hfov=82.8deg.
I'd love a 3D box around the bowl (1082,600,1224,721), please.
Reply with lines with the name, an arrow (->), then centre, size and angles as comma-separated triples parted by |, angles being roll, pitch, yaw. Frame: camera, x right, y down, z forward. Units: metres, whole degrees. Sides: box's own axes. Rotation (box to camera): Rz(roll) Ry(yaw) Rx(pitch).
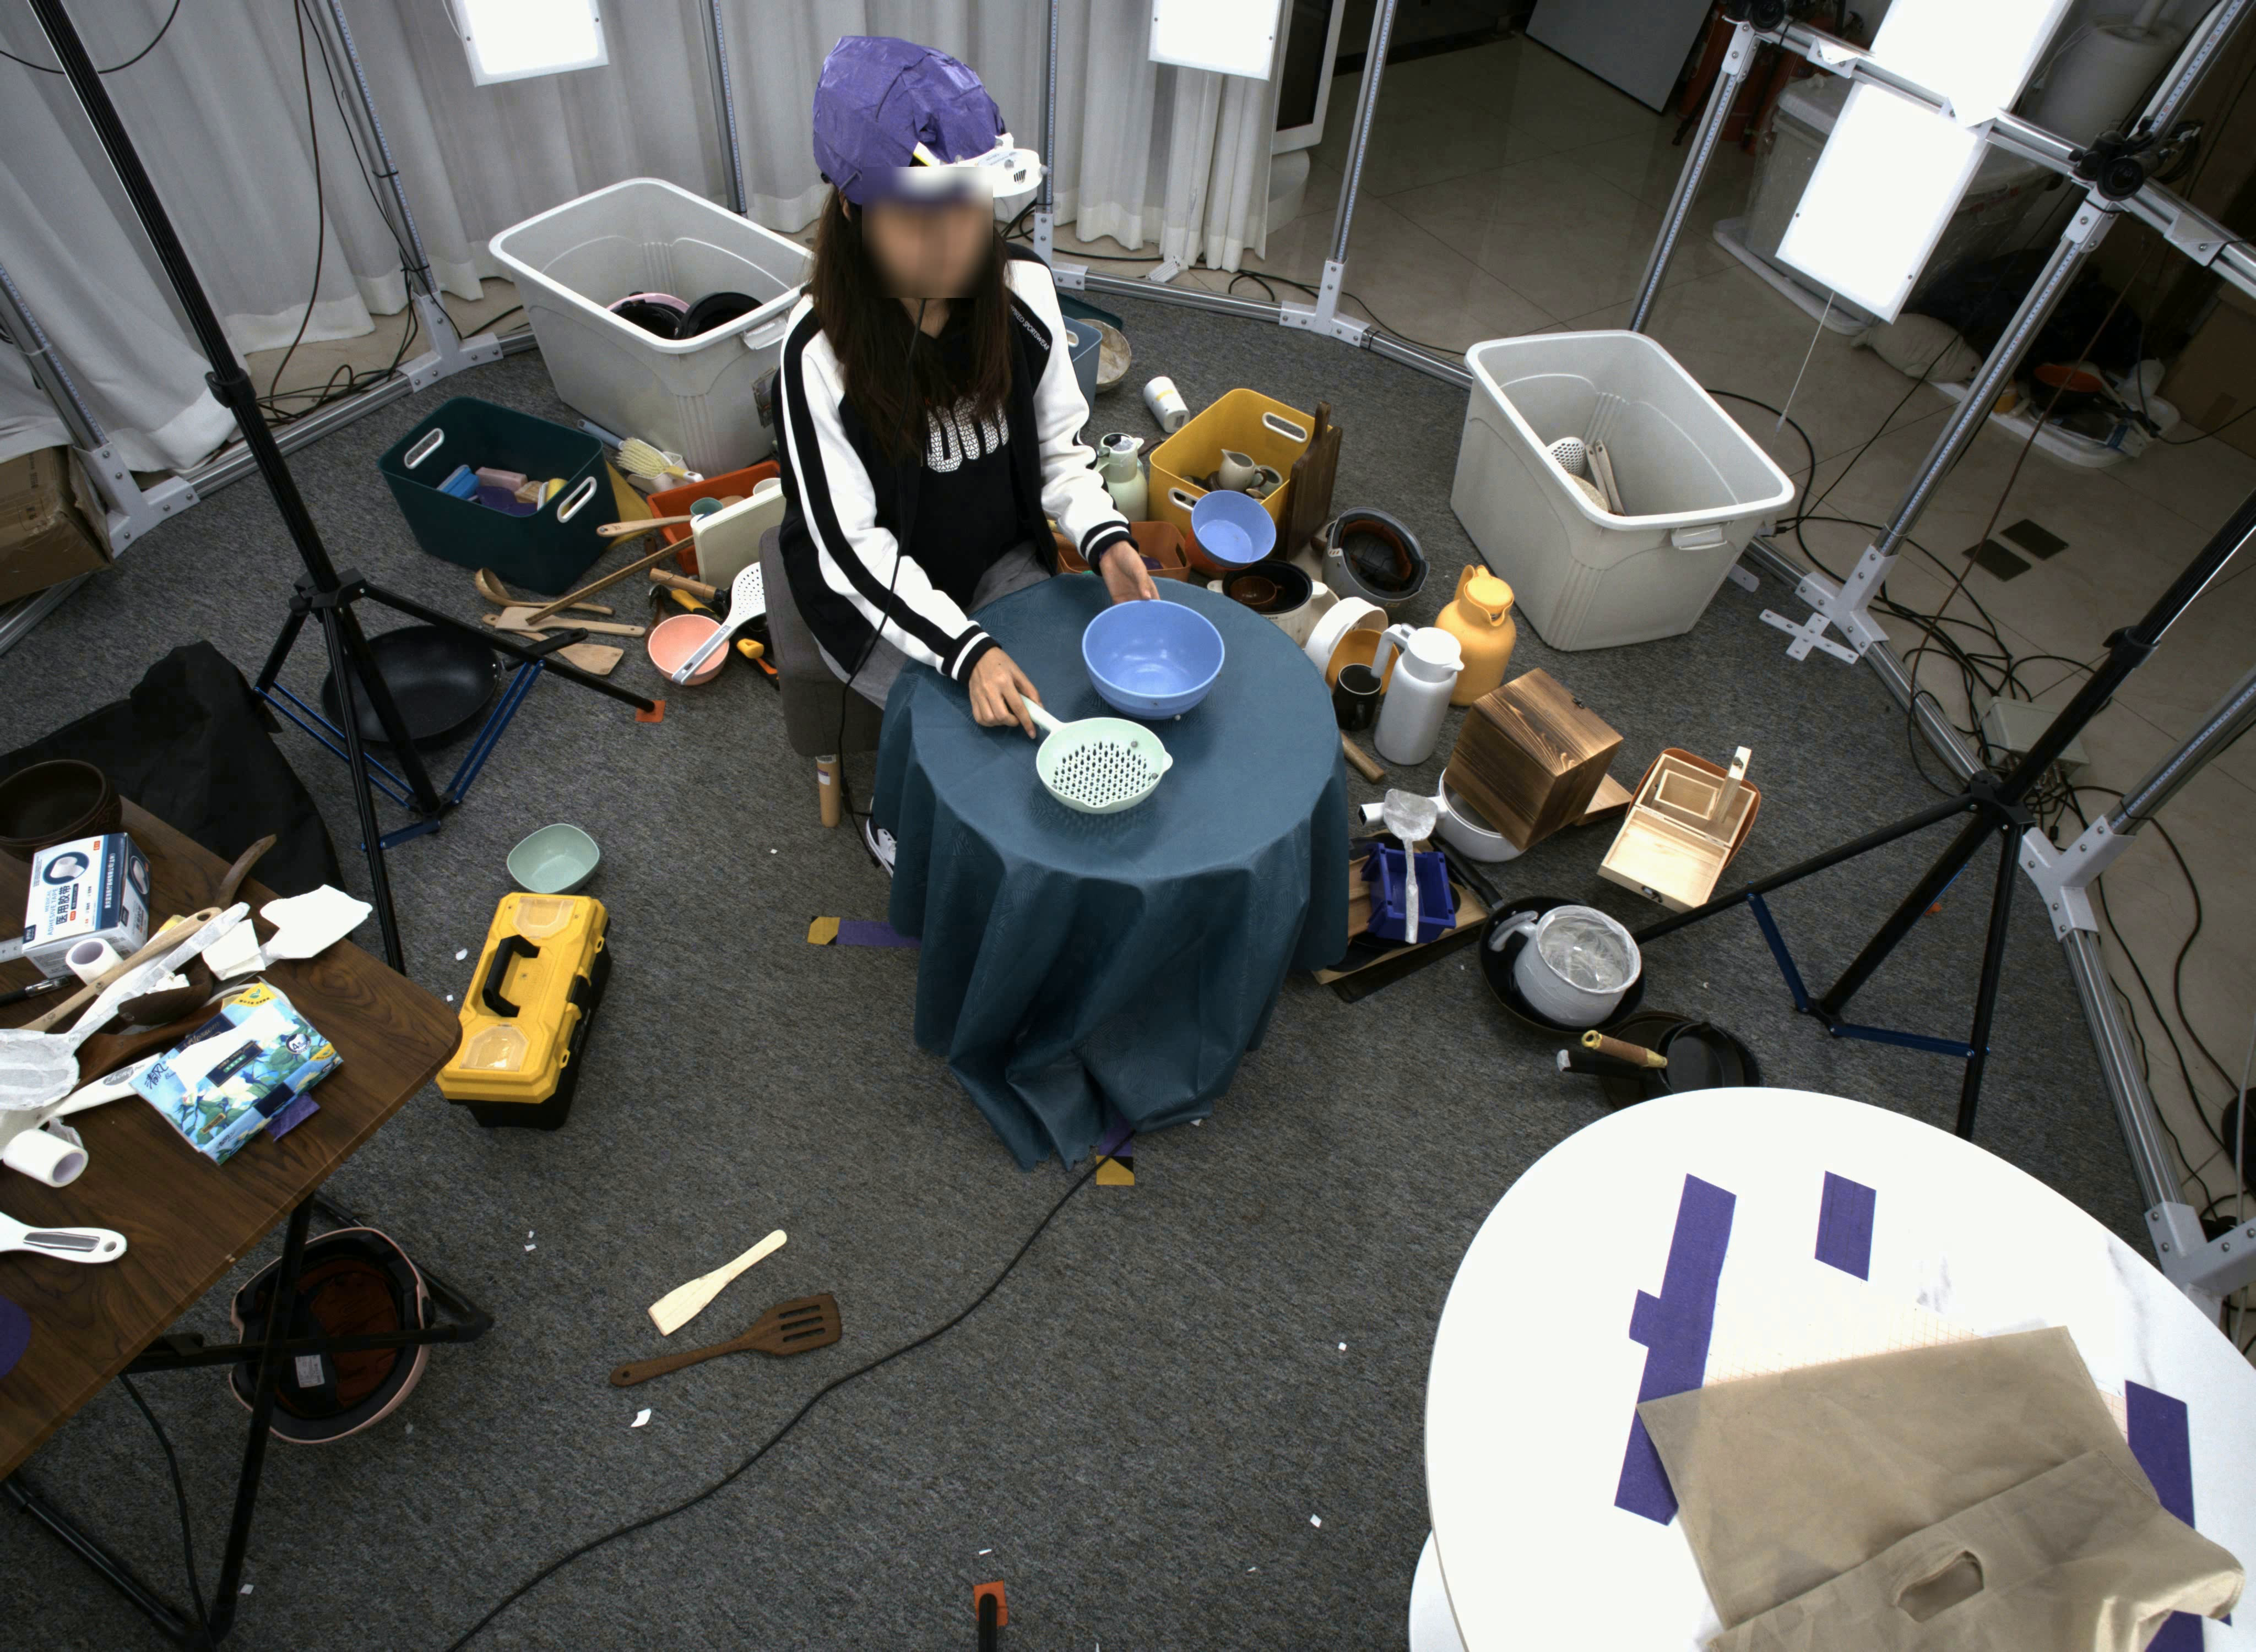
bowl -> 0.032, -0.217, 1.799 | 0.196, 0.093, 0.201 | 2, 49, -2

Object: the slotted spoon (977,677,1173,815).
slotted spoon -> -0.097, -0.127, 1.736 | 0.170, 0.073, 0.365 | -30, 55, -28
